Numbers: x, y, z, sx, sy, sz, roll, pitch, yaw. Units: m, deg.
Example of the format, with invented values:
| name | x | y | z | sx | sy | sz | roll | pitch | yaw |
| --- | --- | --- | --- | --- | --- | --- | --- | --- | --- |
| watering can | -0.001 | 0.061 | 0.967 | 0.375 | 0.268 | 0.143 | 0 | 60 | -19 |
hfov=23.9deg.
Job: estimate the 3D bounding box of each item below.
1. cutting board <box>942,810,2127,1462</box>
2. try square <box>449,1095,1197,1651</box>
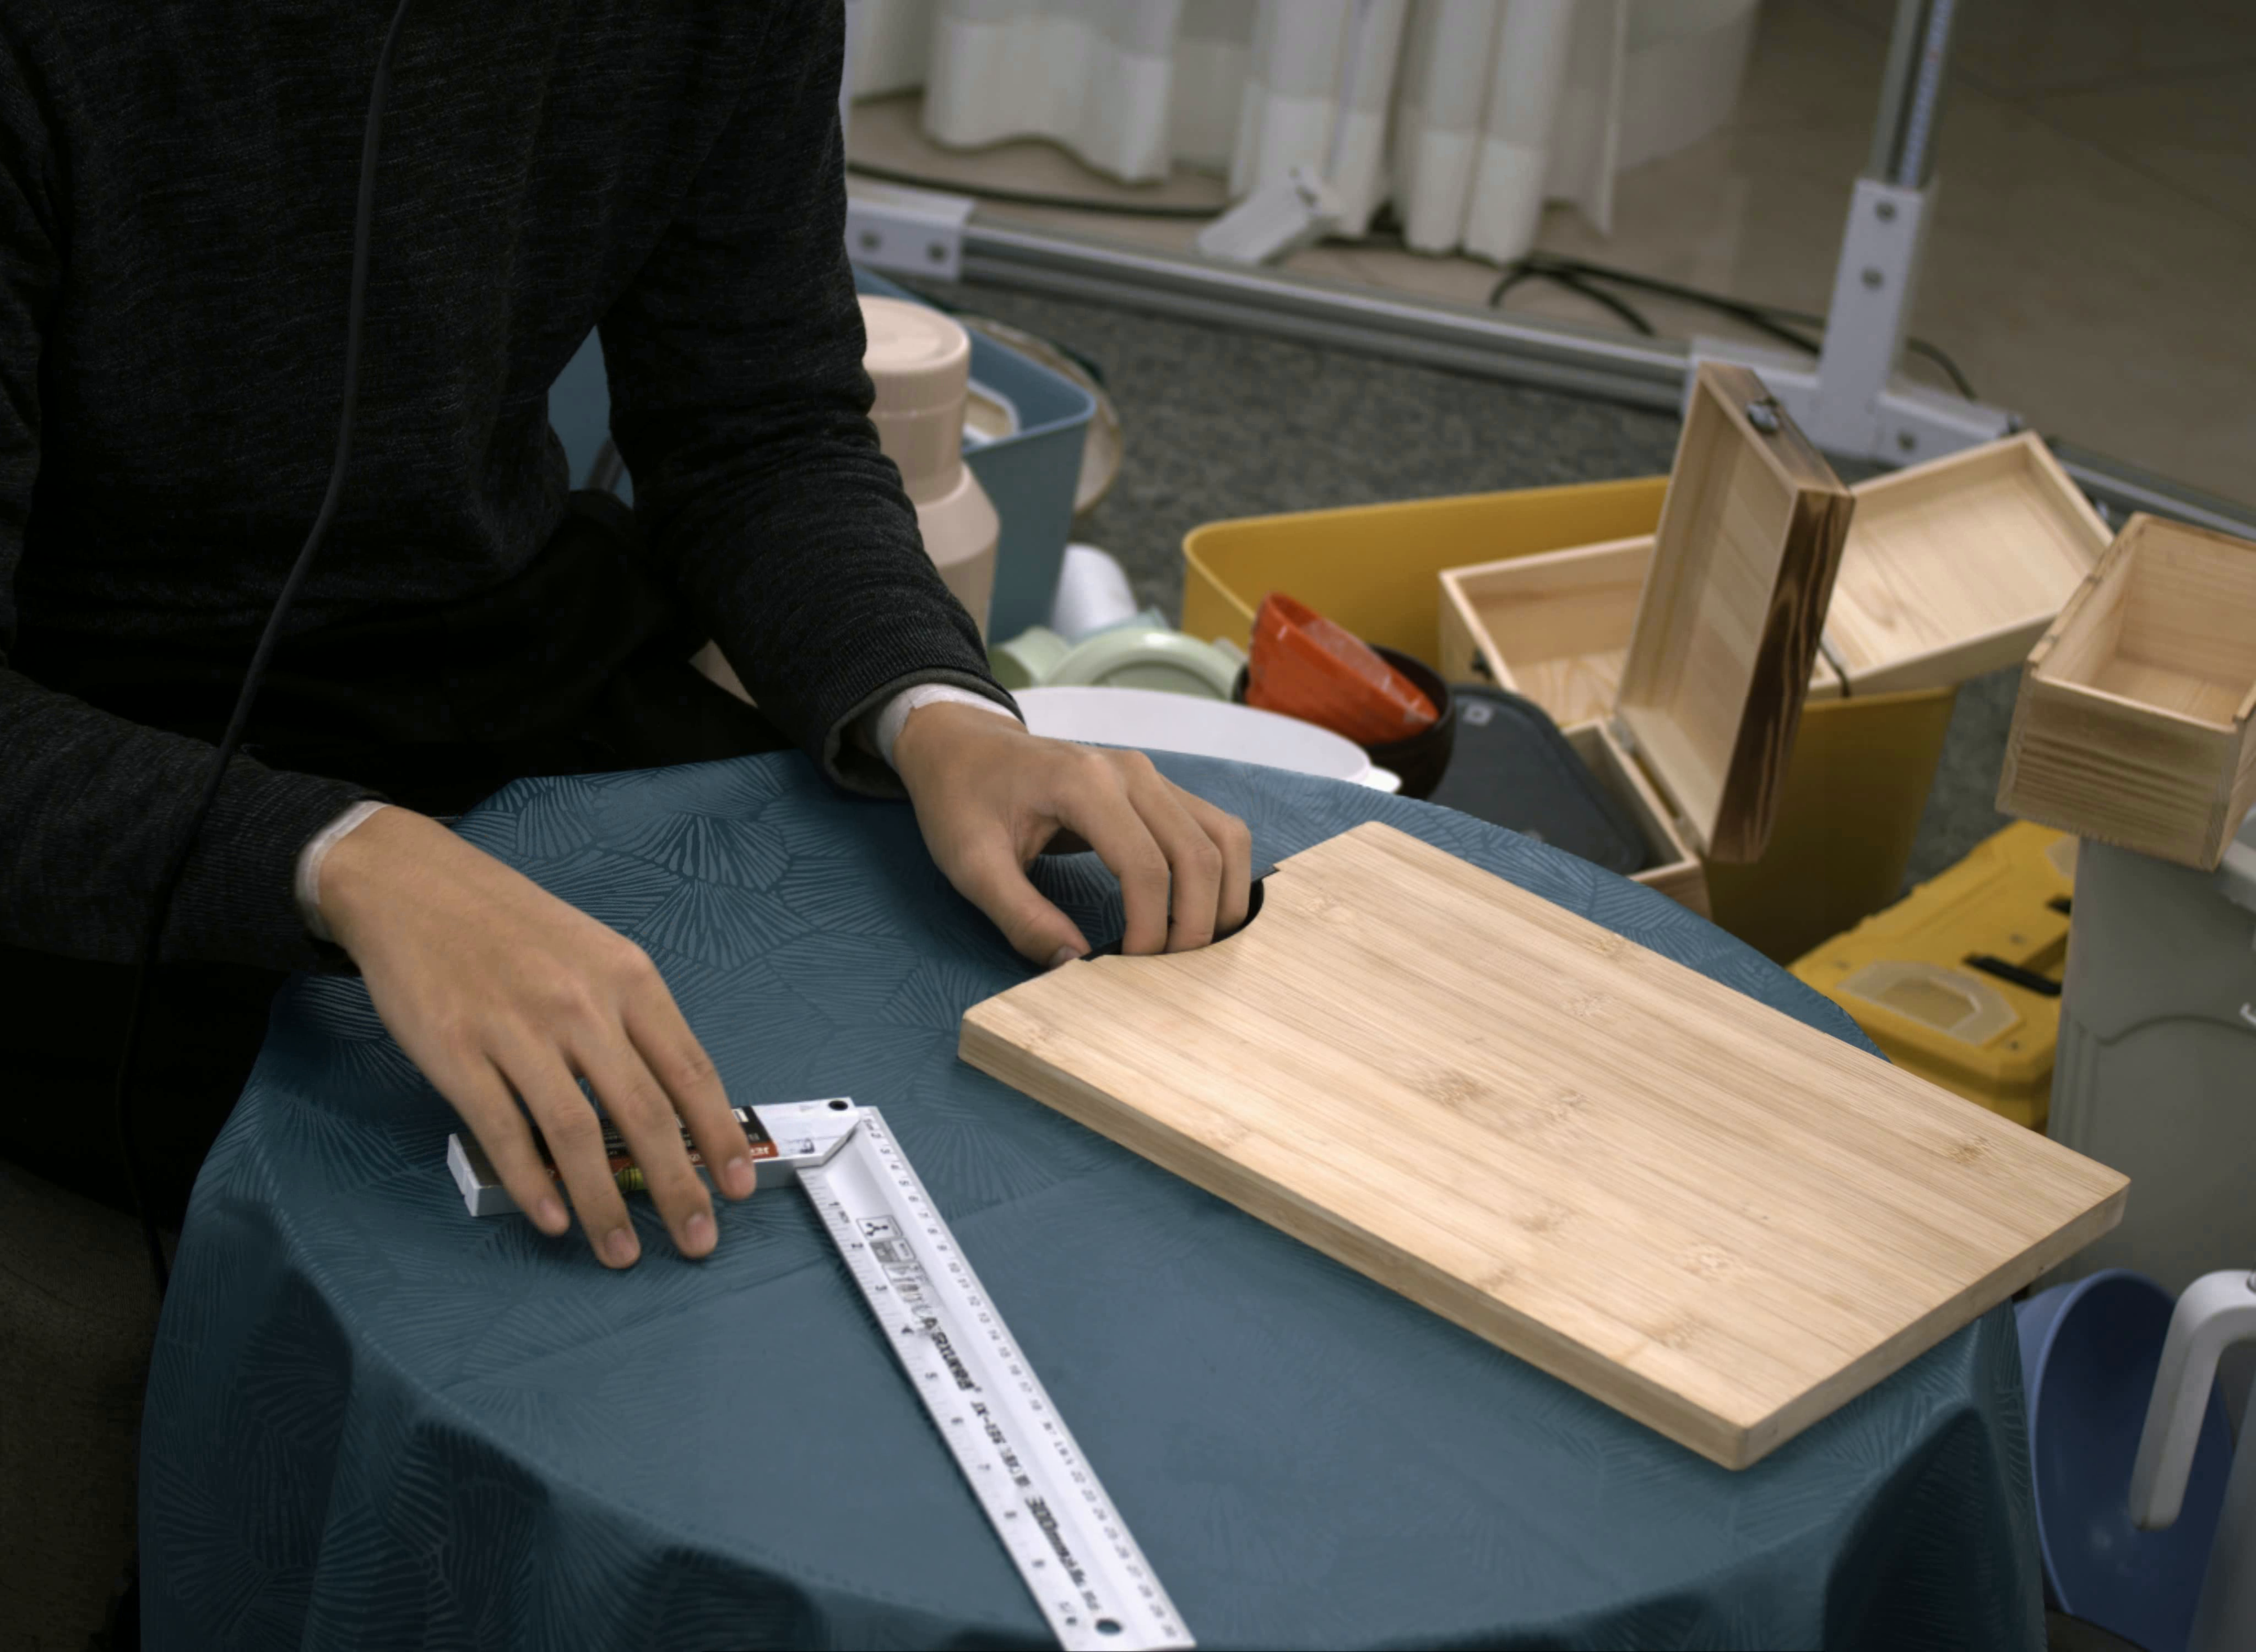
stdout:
| name | x | y | z | sx | sy | sz | roll | pitch | yaw |
| --- | --- | --- | --- | --- | --- | --- | --- | --- | --- |
| cutting board | 0.140 | 0.100 | 1.862 | 0.351 | 0.023 | 0.250 | 26 | 32 | 33 |
| try square | -0.103 | 0.174 | 1.671 | 0.151 | 0.016 | 0.316 | -4 | 30 | -20 |
